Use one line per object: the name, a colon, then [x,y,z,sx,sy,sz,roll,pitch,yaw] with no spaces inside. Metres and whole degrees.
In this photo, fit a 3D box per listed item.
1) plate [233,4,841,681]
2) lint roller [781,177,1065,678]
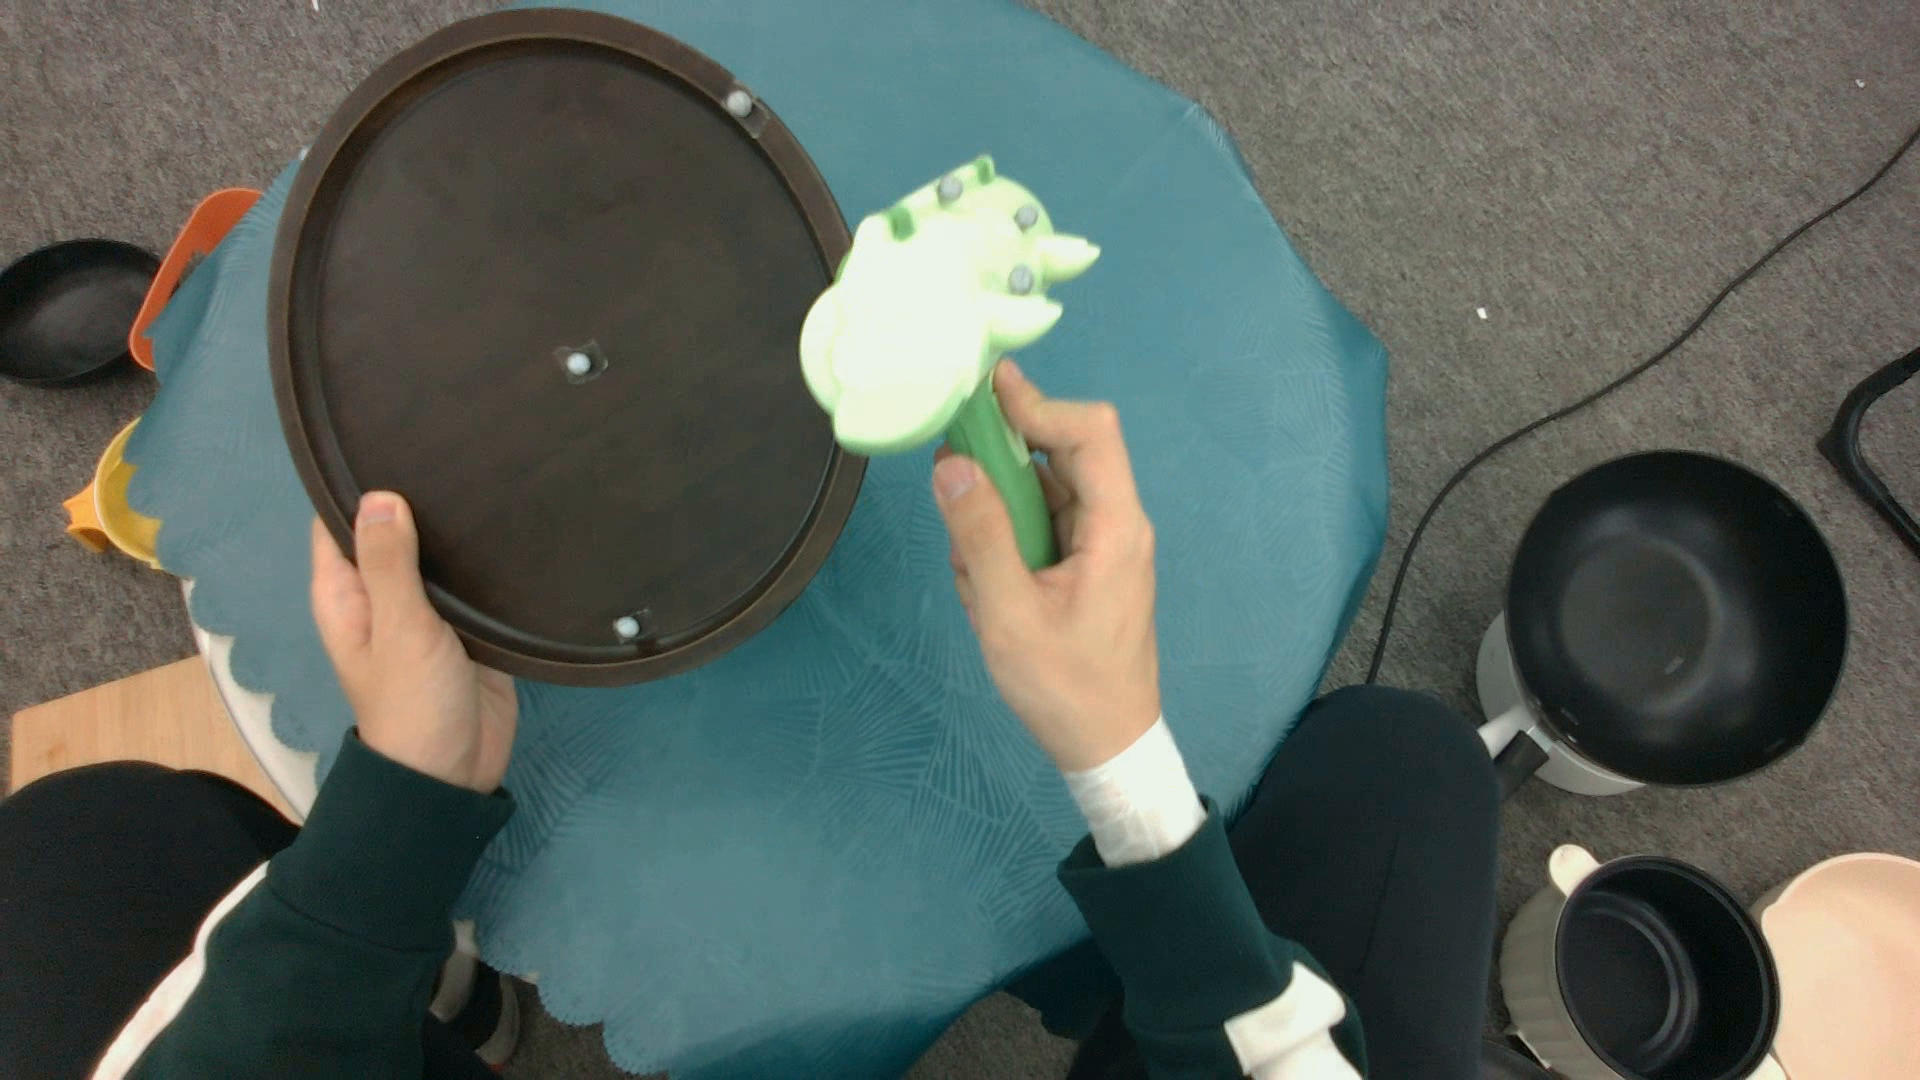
plate: [-0.162,-0.069,0.525,0.254,0.029,0.254,2,102,11]
lint roller: [0.013,-0.037,0.508,0.082,0.199,0.183,-20,106,16]
